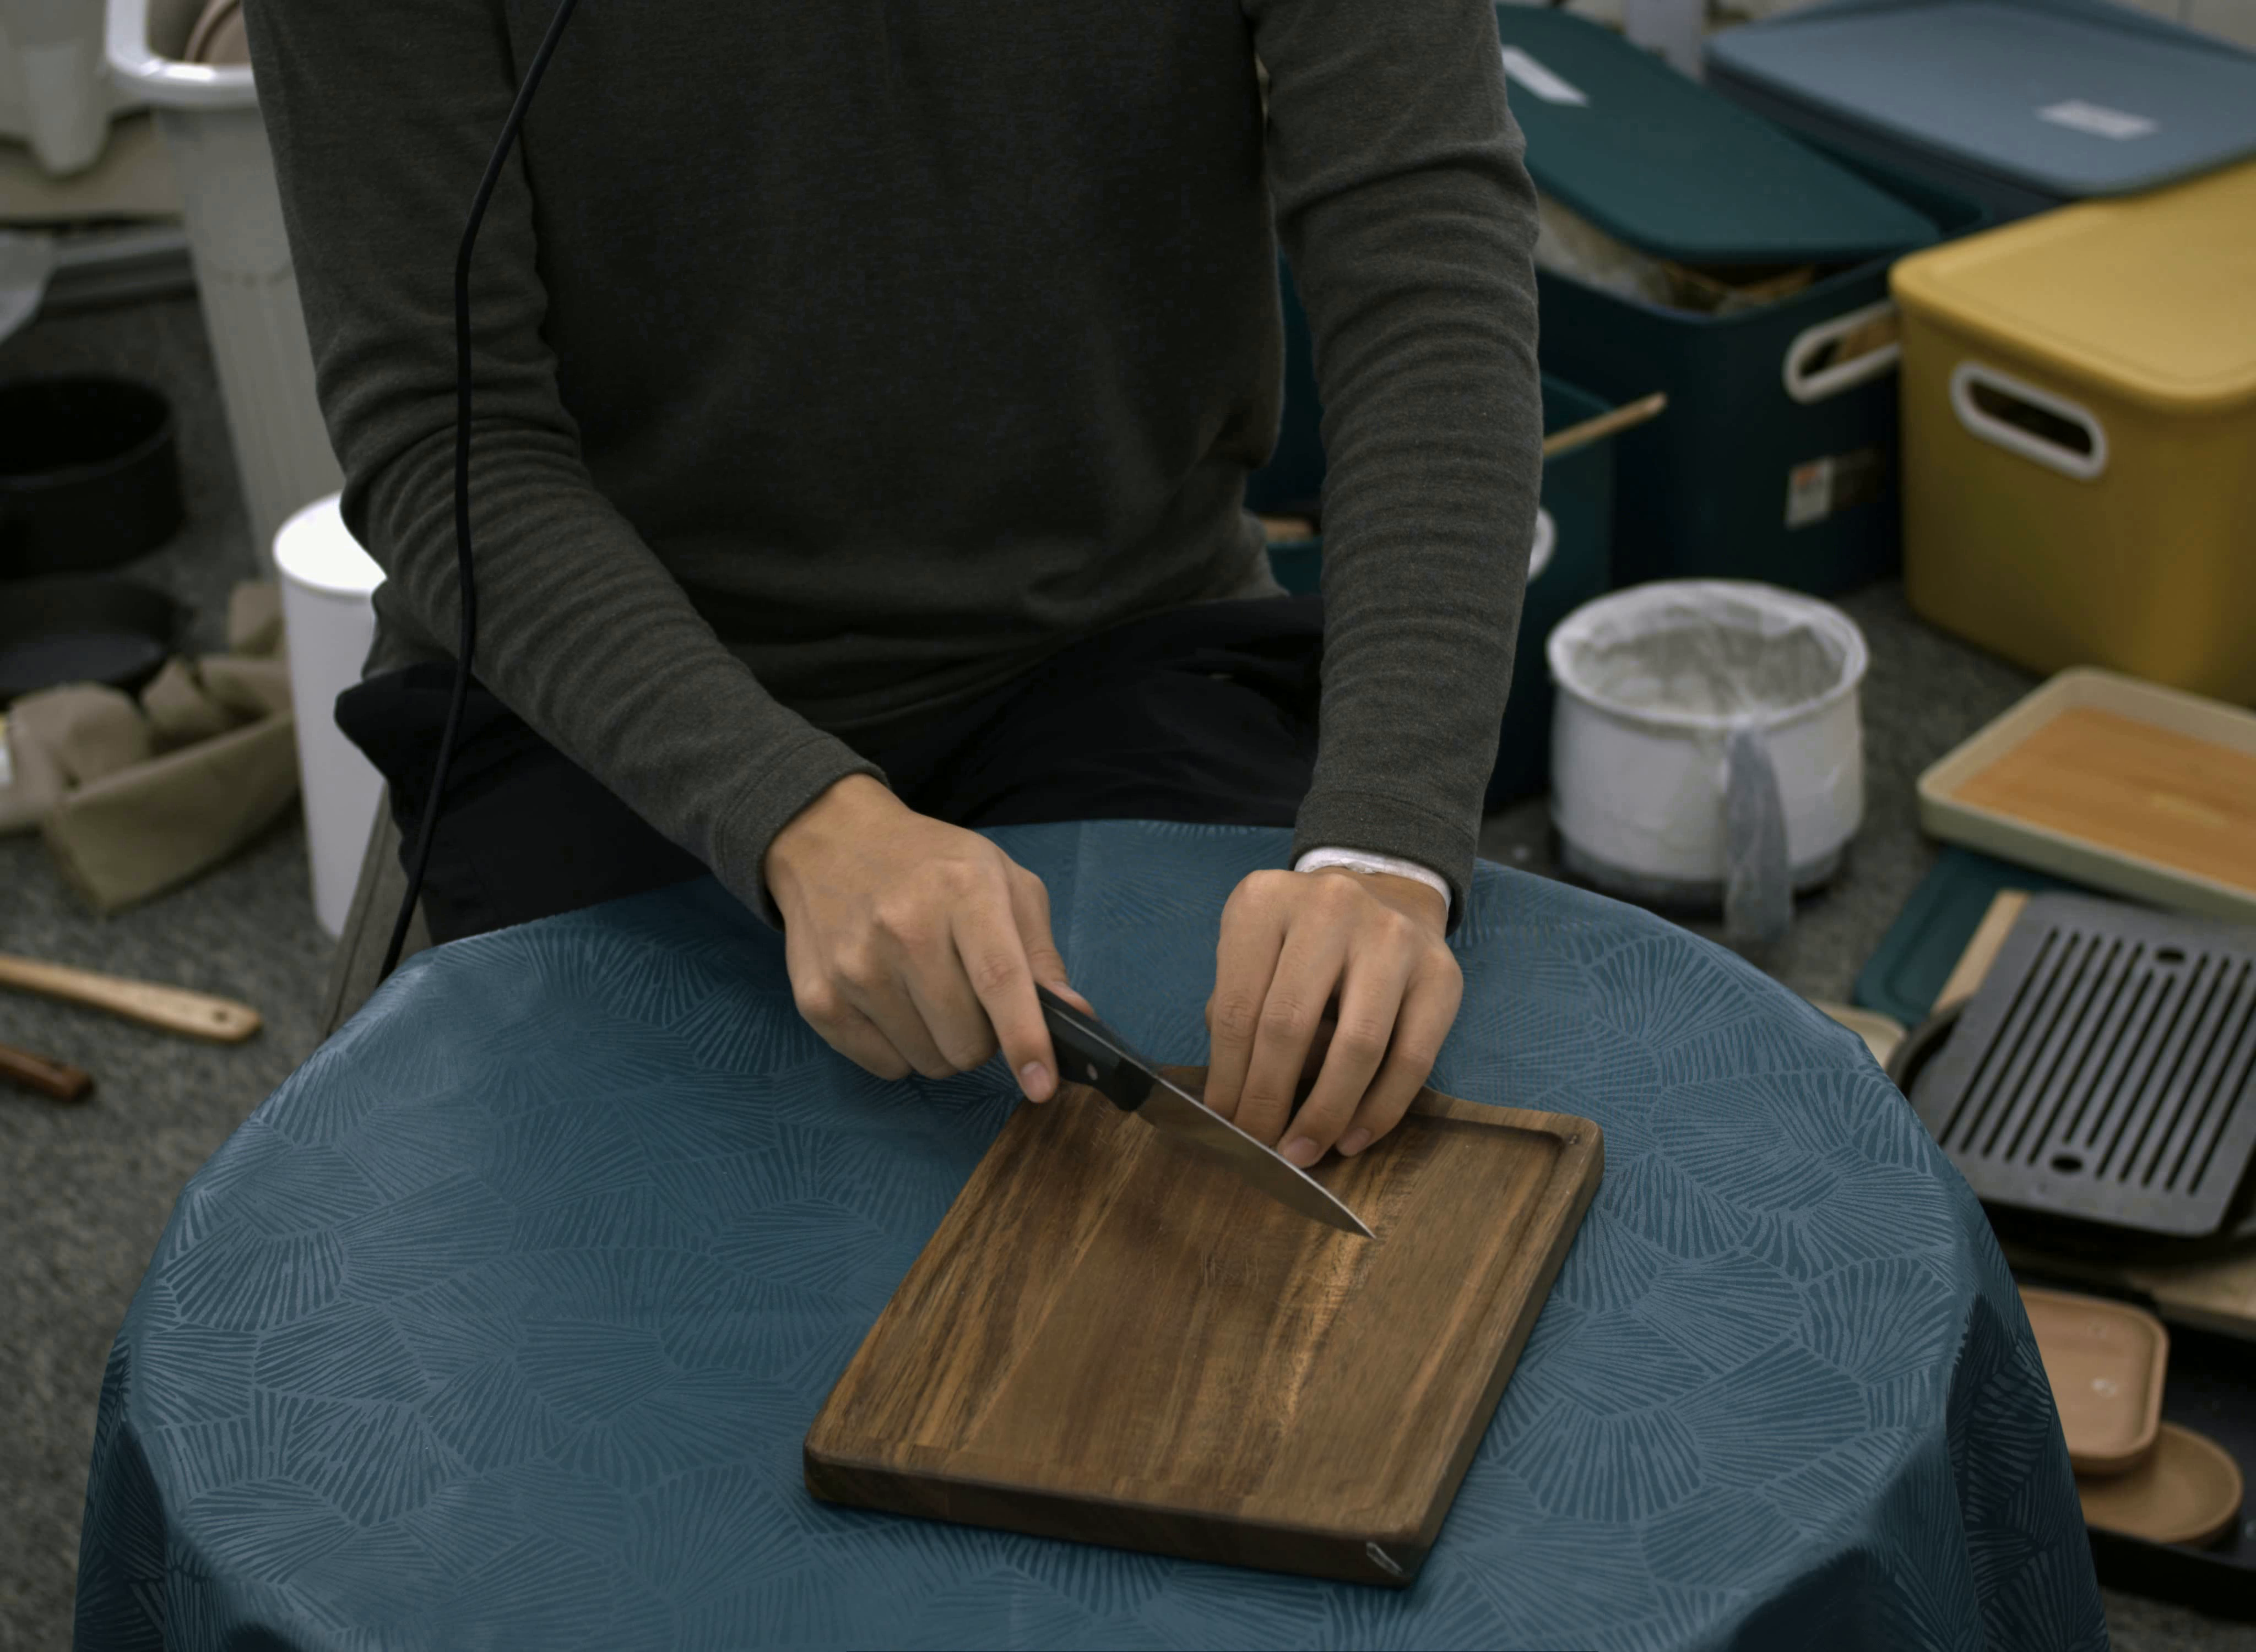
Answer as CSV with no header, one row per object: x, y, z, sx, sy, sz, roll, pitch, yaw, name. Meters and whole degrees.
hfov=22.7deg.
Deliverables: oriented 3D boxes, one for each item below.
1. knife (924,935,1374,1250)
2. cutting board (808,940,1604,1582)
0.005,0.085,1.824,0.016,0.024,0.238,-26,36,-28,knife
0.044,0.128,1.823,0.199,0.023,0.358,6,28,16,cutting board
